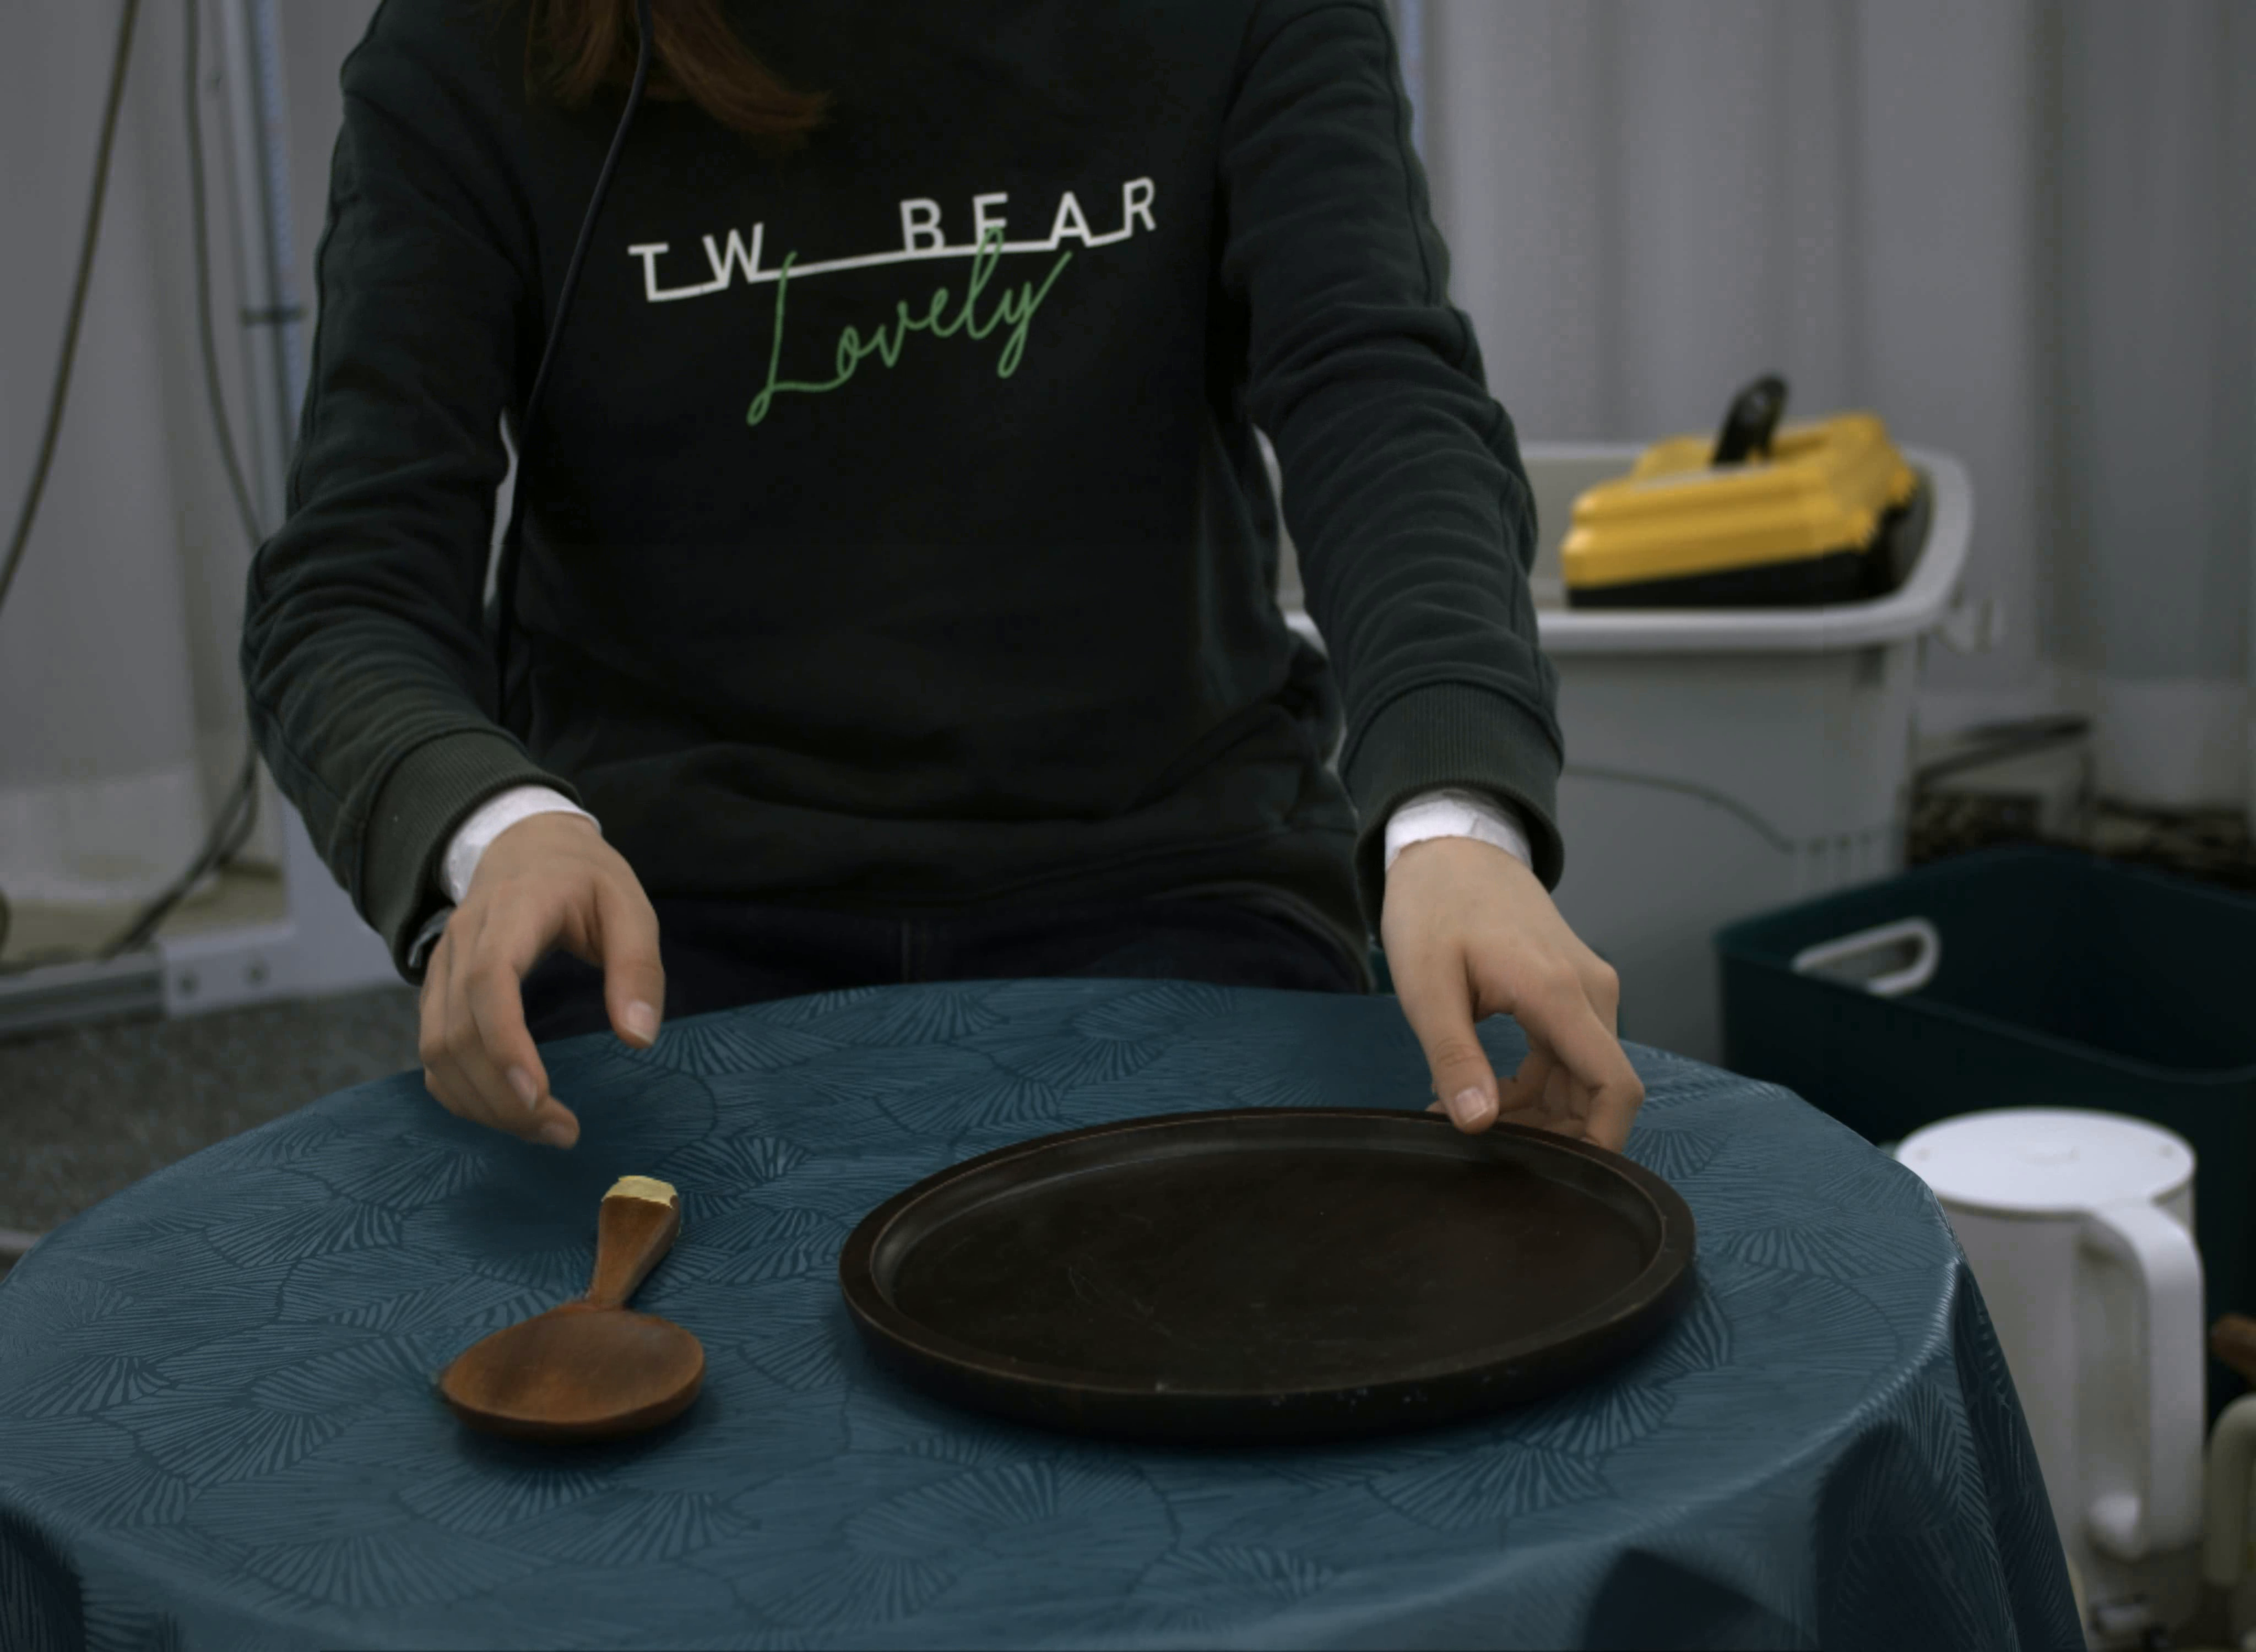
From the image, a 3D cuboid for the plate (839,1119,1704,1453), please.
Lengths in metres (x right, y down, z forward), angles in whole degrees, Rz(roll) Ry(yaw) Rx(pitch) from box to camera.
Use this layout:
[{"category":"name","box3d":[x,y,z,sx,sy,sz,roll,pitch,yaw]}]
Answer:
[{"category":"plate","box3d":[0.042,0.132,1.602,0.254,0.029,0.256,-2,16,0]}]

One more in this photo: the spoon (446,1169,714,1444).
[{"category":"spoon","box3d":[-0.153,0.142,1.607,0.075,0.017,0.217,-2,15,2]}]
